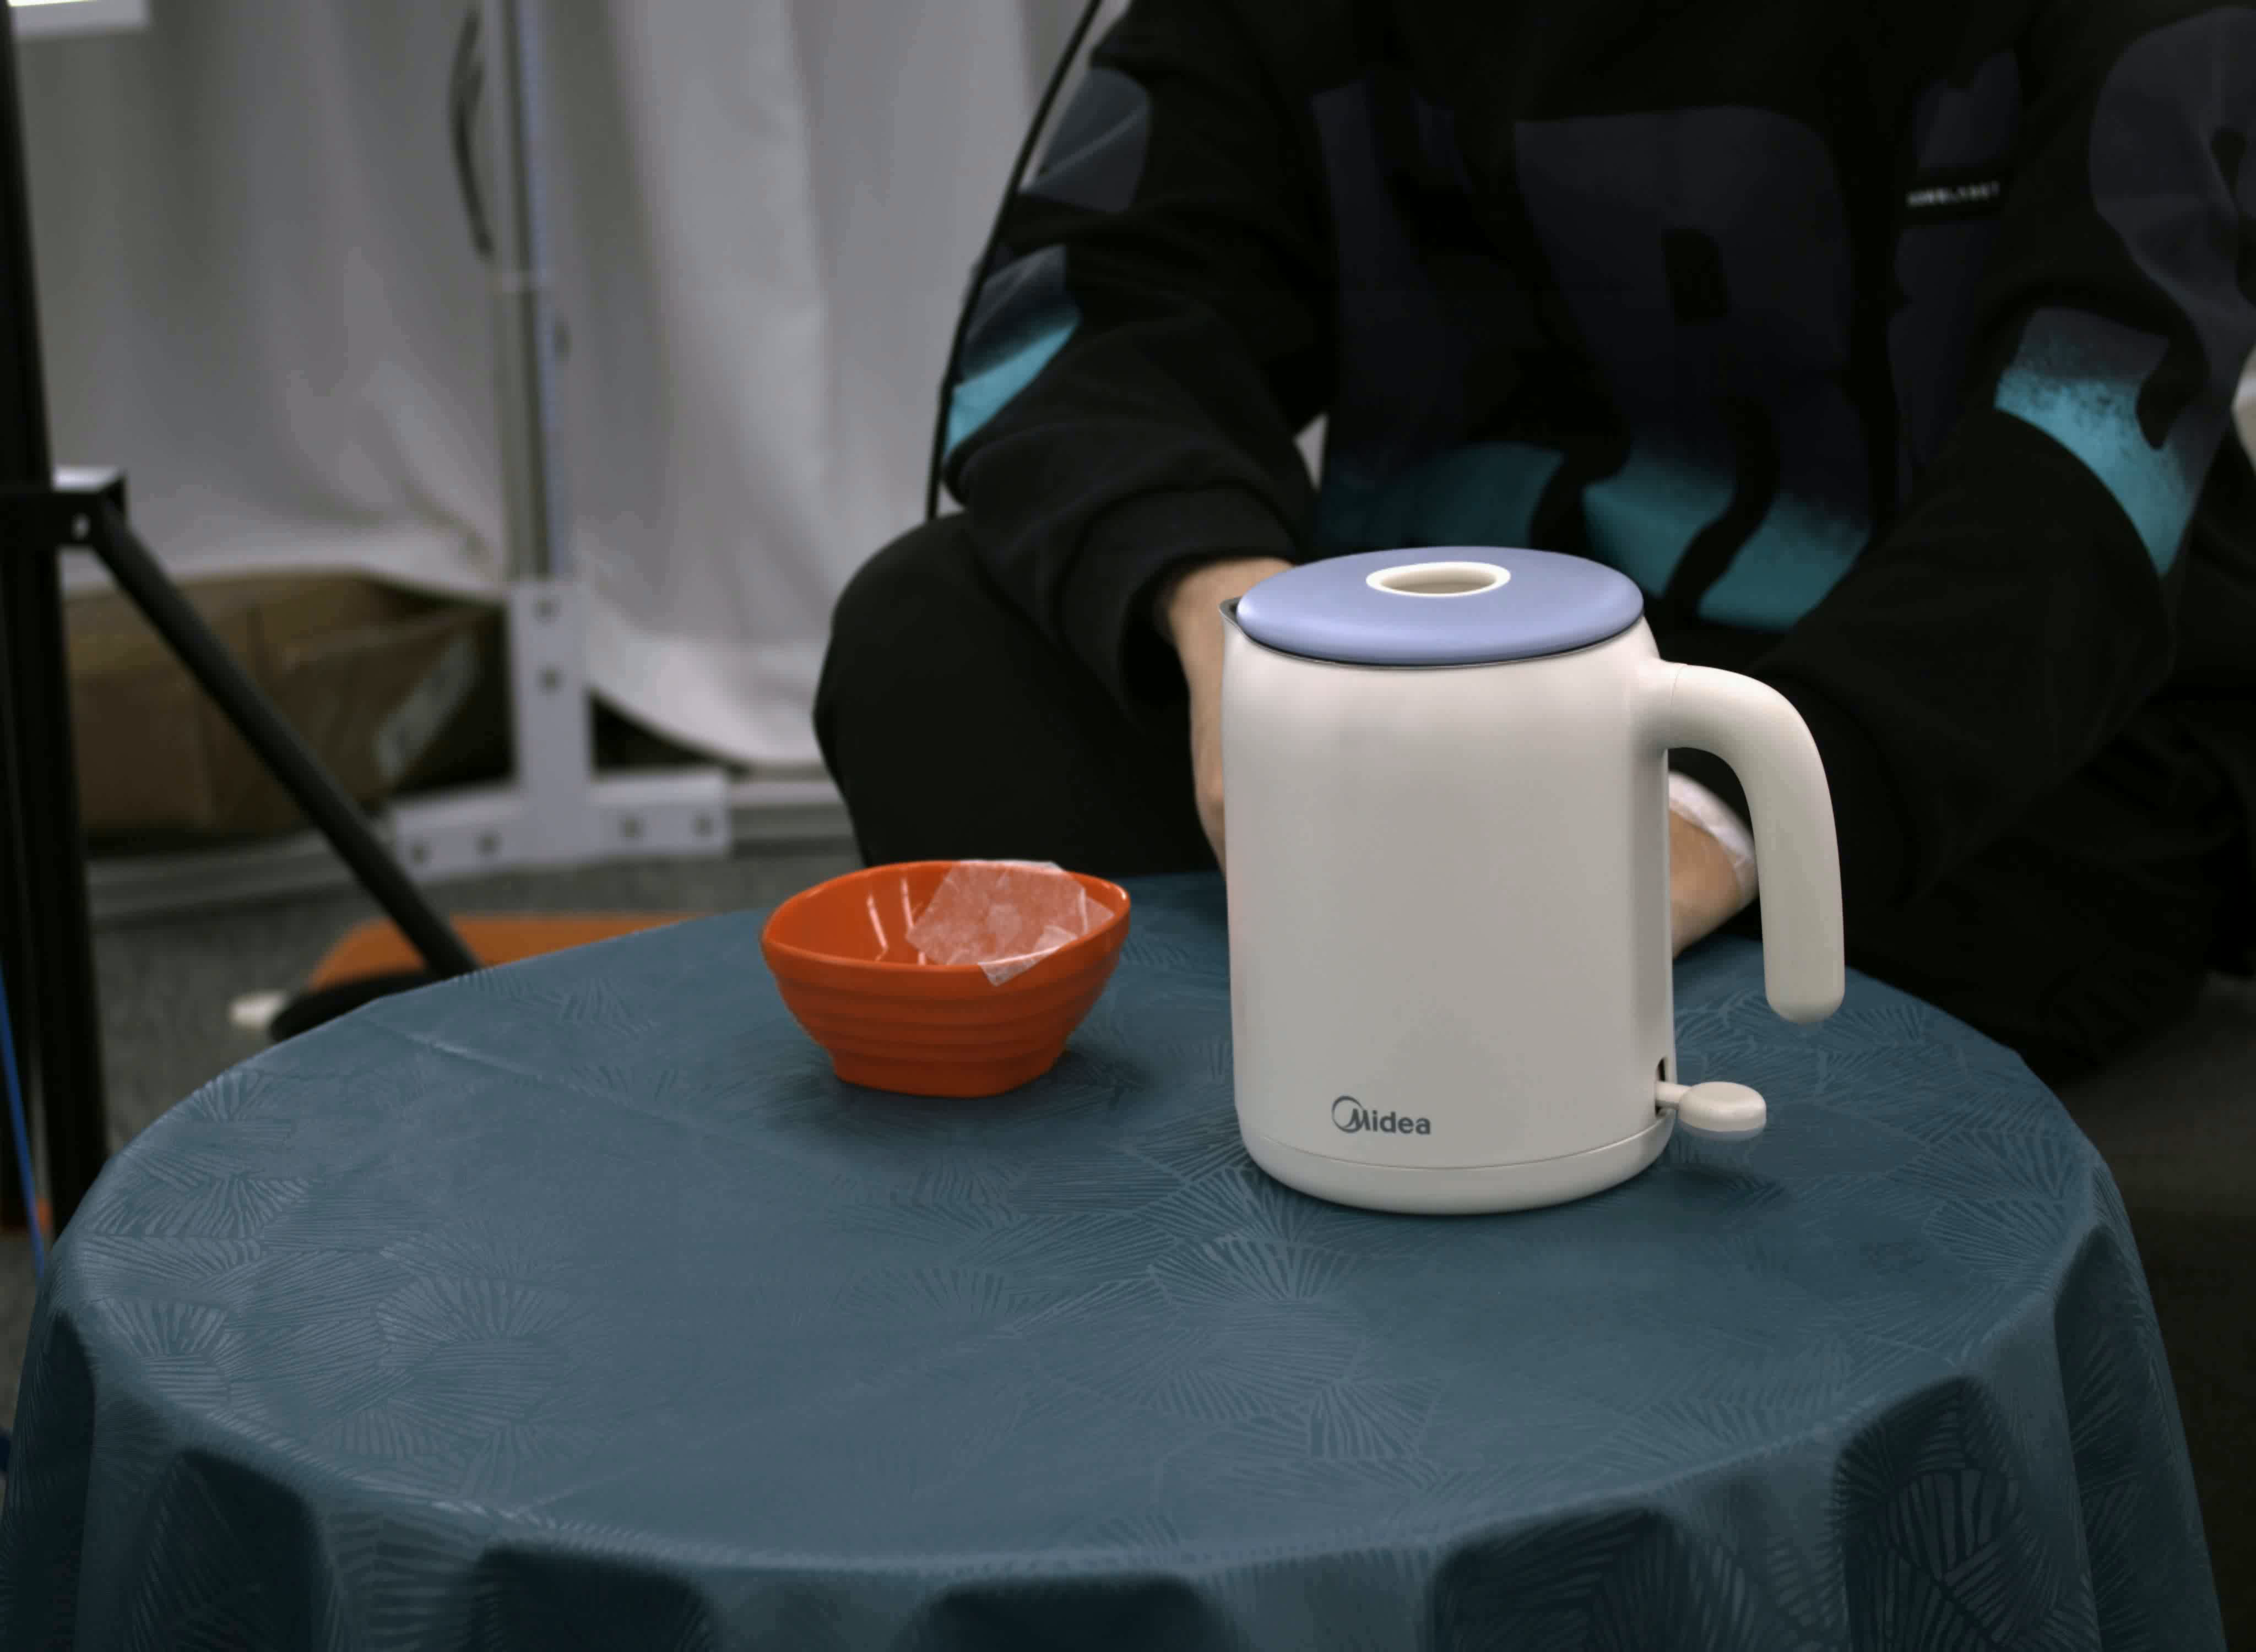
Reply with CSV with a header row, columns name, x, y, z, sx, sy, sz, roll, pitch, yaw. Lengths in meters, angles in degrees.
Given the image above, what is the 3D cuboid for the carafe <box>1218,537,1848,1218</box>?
name,x,y,z,sx,sy,sz,roll,pitch,yaw
carafe,0.117,0.017,1.549,0.193,0.182,0.130,6,19,21

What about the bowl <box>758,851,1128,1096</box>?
name,x,y,z,sx,sy,sz,roll,pitch,yaw
bowl,-0.055,0.049,1.676,0.118,0.051,0.119,-6,17,0
